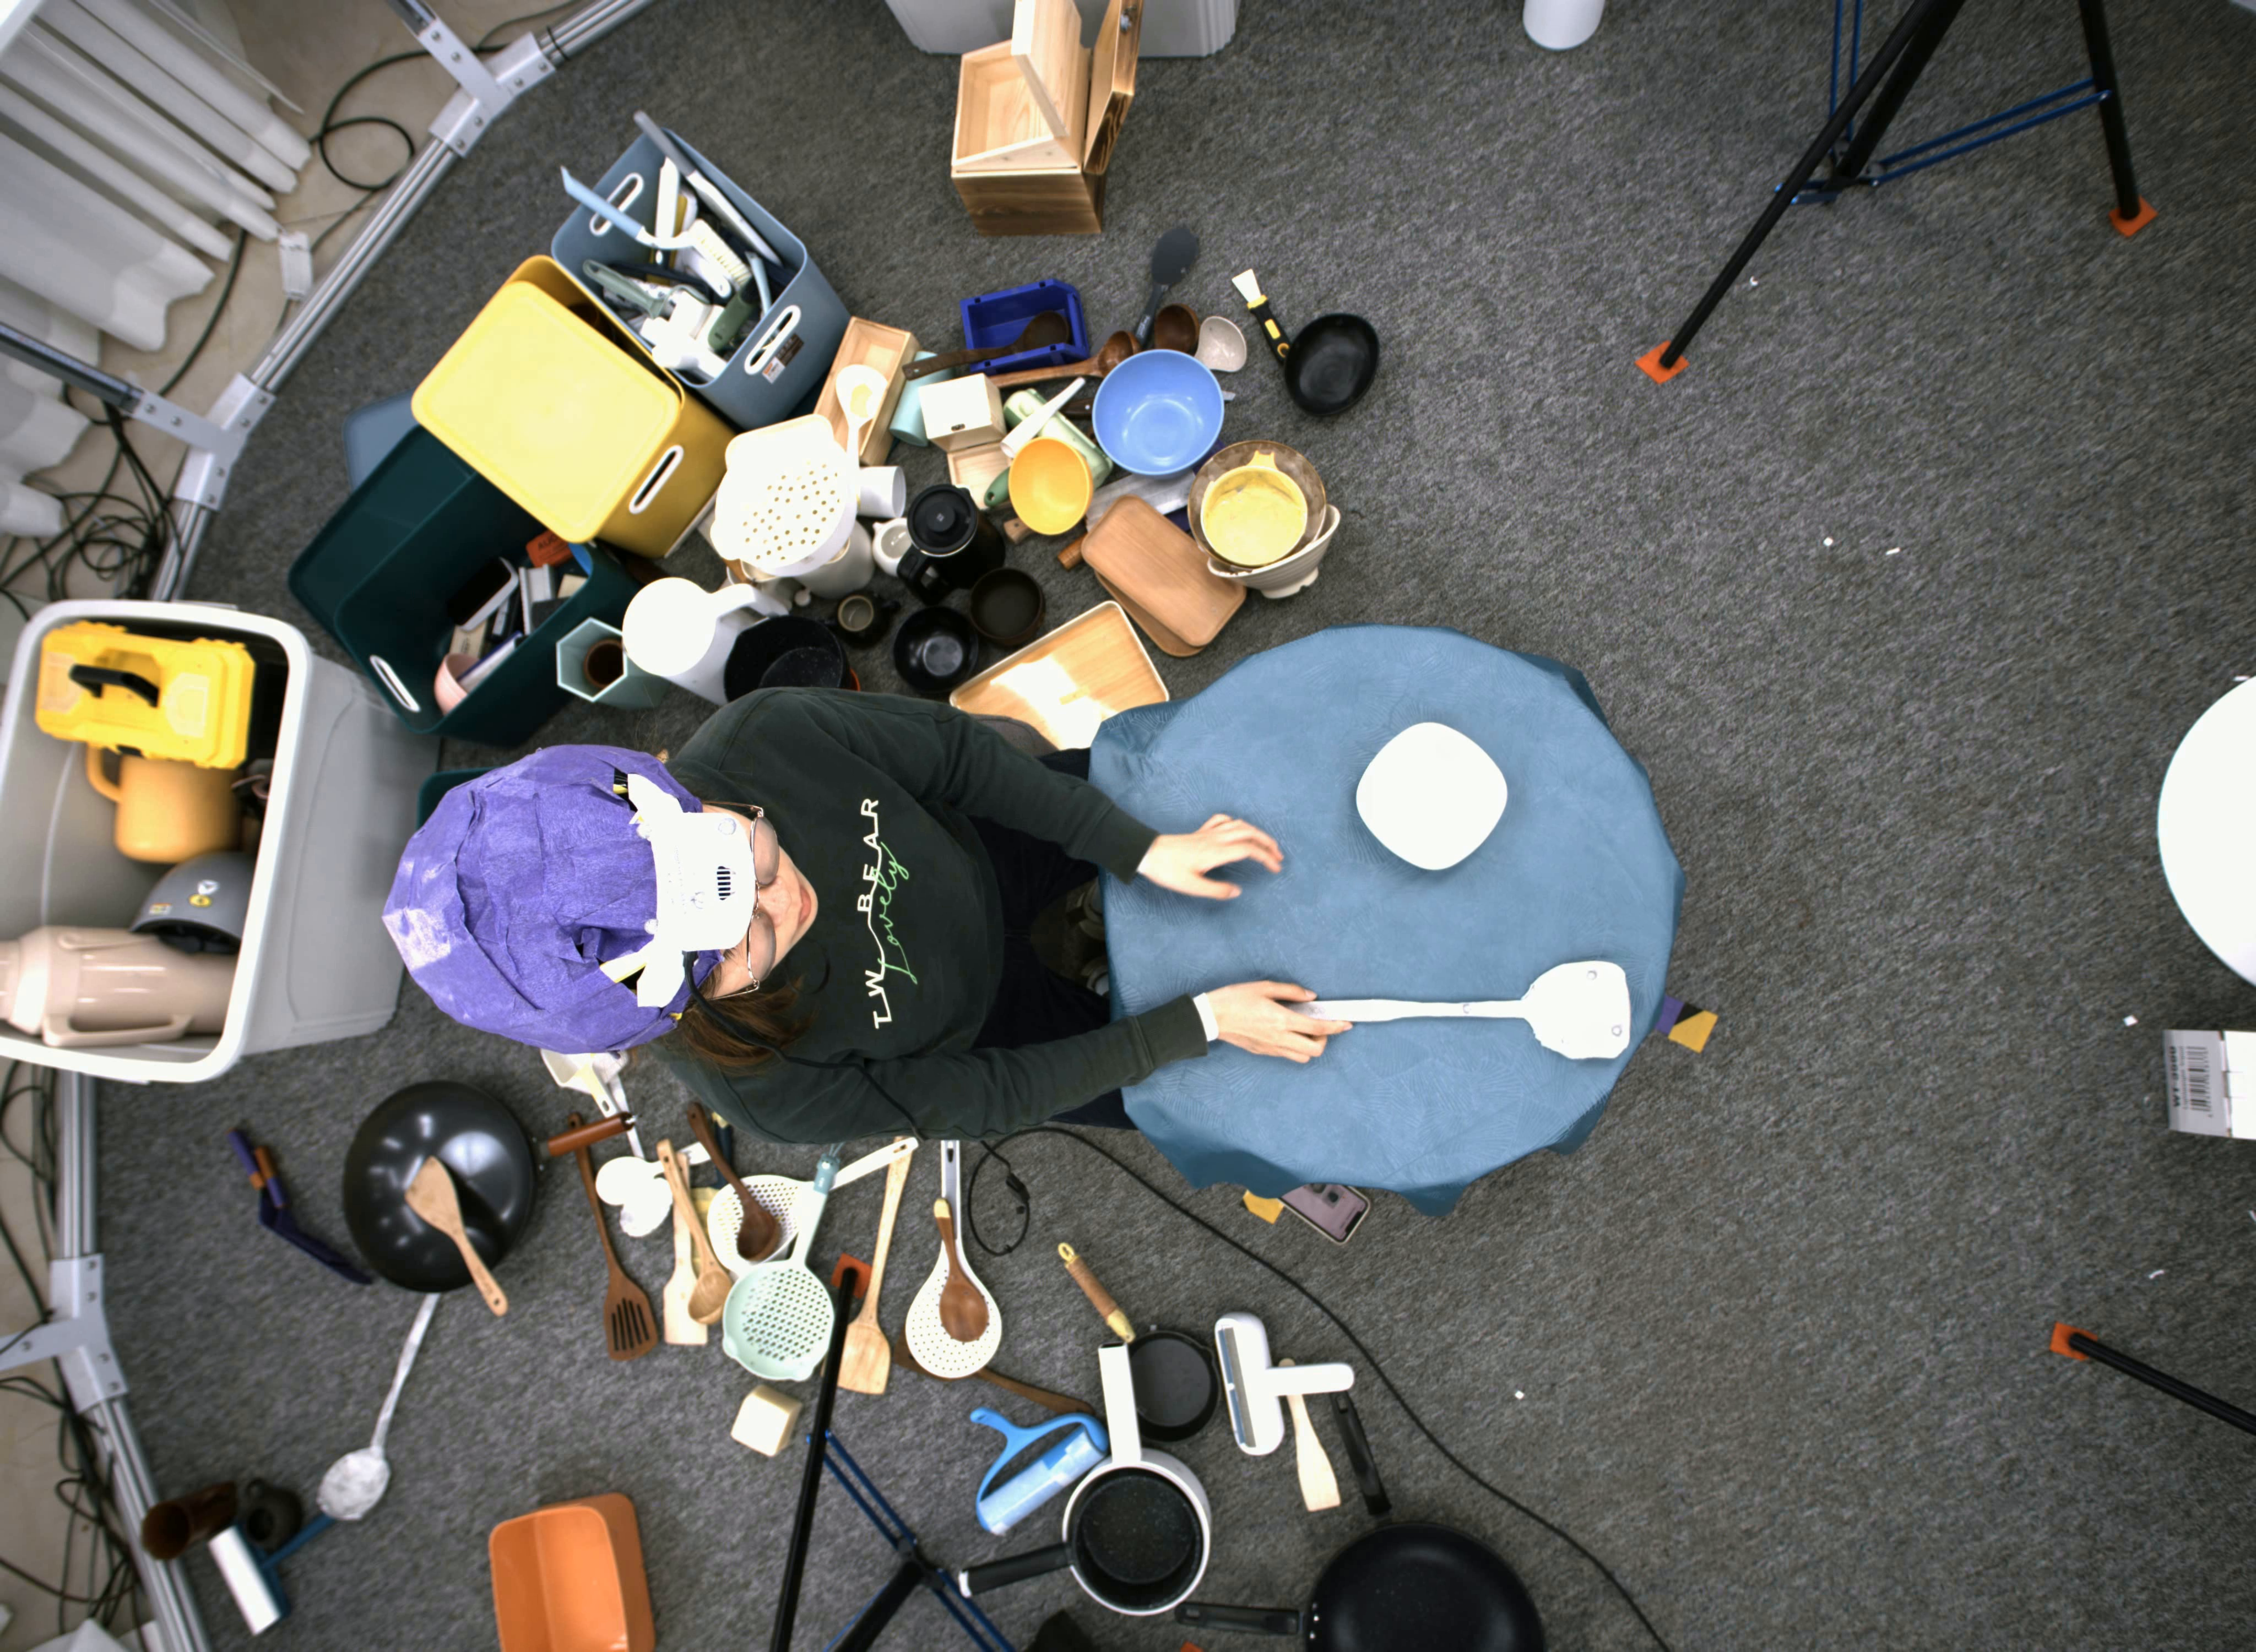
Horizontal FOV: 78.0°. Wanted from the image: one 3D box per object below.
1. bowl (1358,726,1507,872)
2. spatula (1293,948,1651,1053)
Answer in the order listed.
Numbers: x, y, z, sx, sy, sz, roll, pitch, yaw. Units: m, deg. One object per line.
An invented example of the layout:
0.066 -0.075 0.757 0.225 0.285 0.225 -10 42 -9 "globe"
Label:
0.315 -0.026 1.435 0.152 0.059 0.150 -1 85 8 "bowl"
0.347 0.198 1.422 0.367 0.045 0.097 -10 68 13 "spatula"
